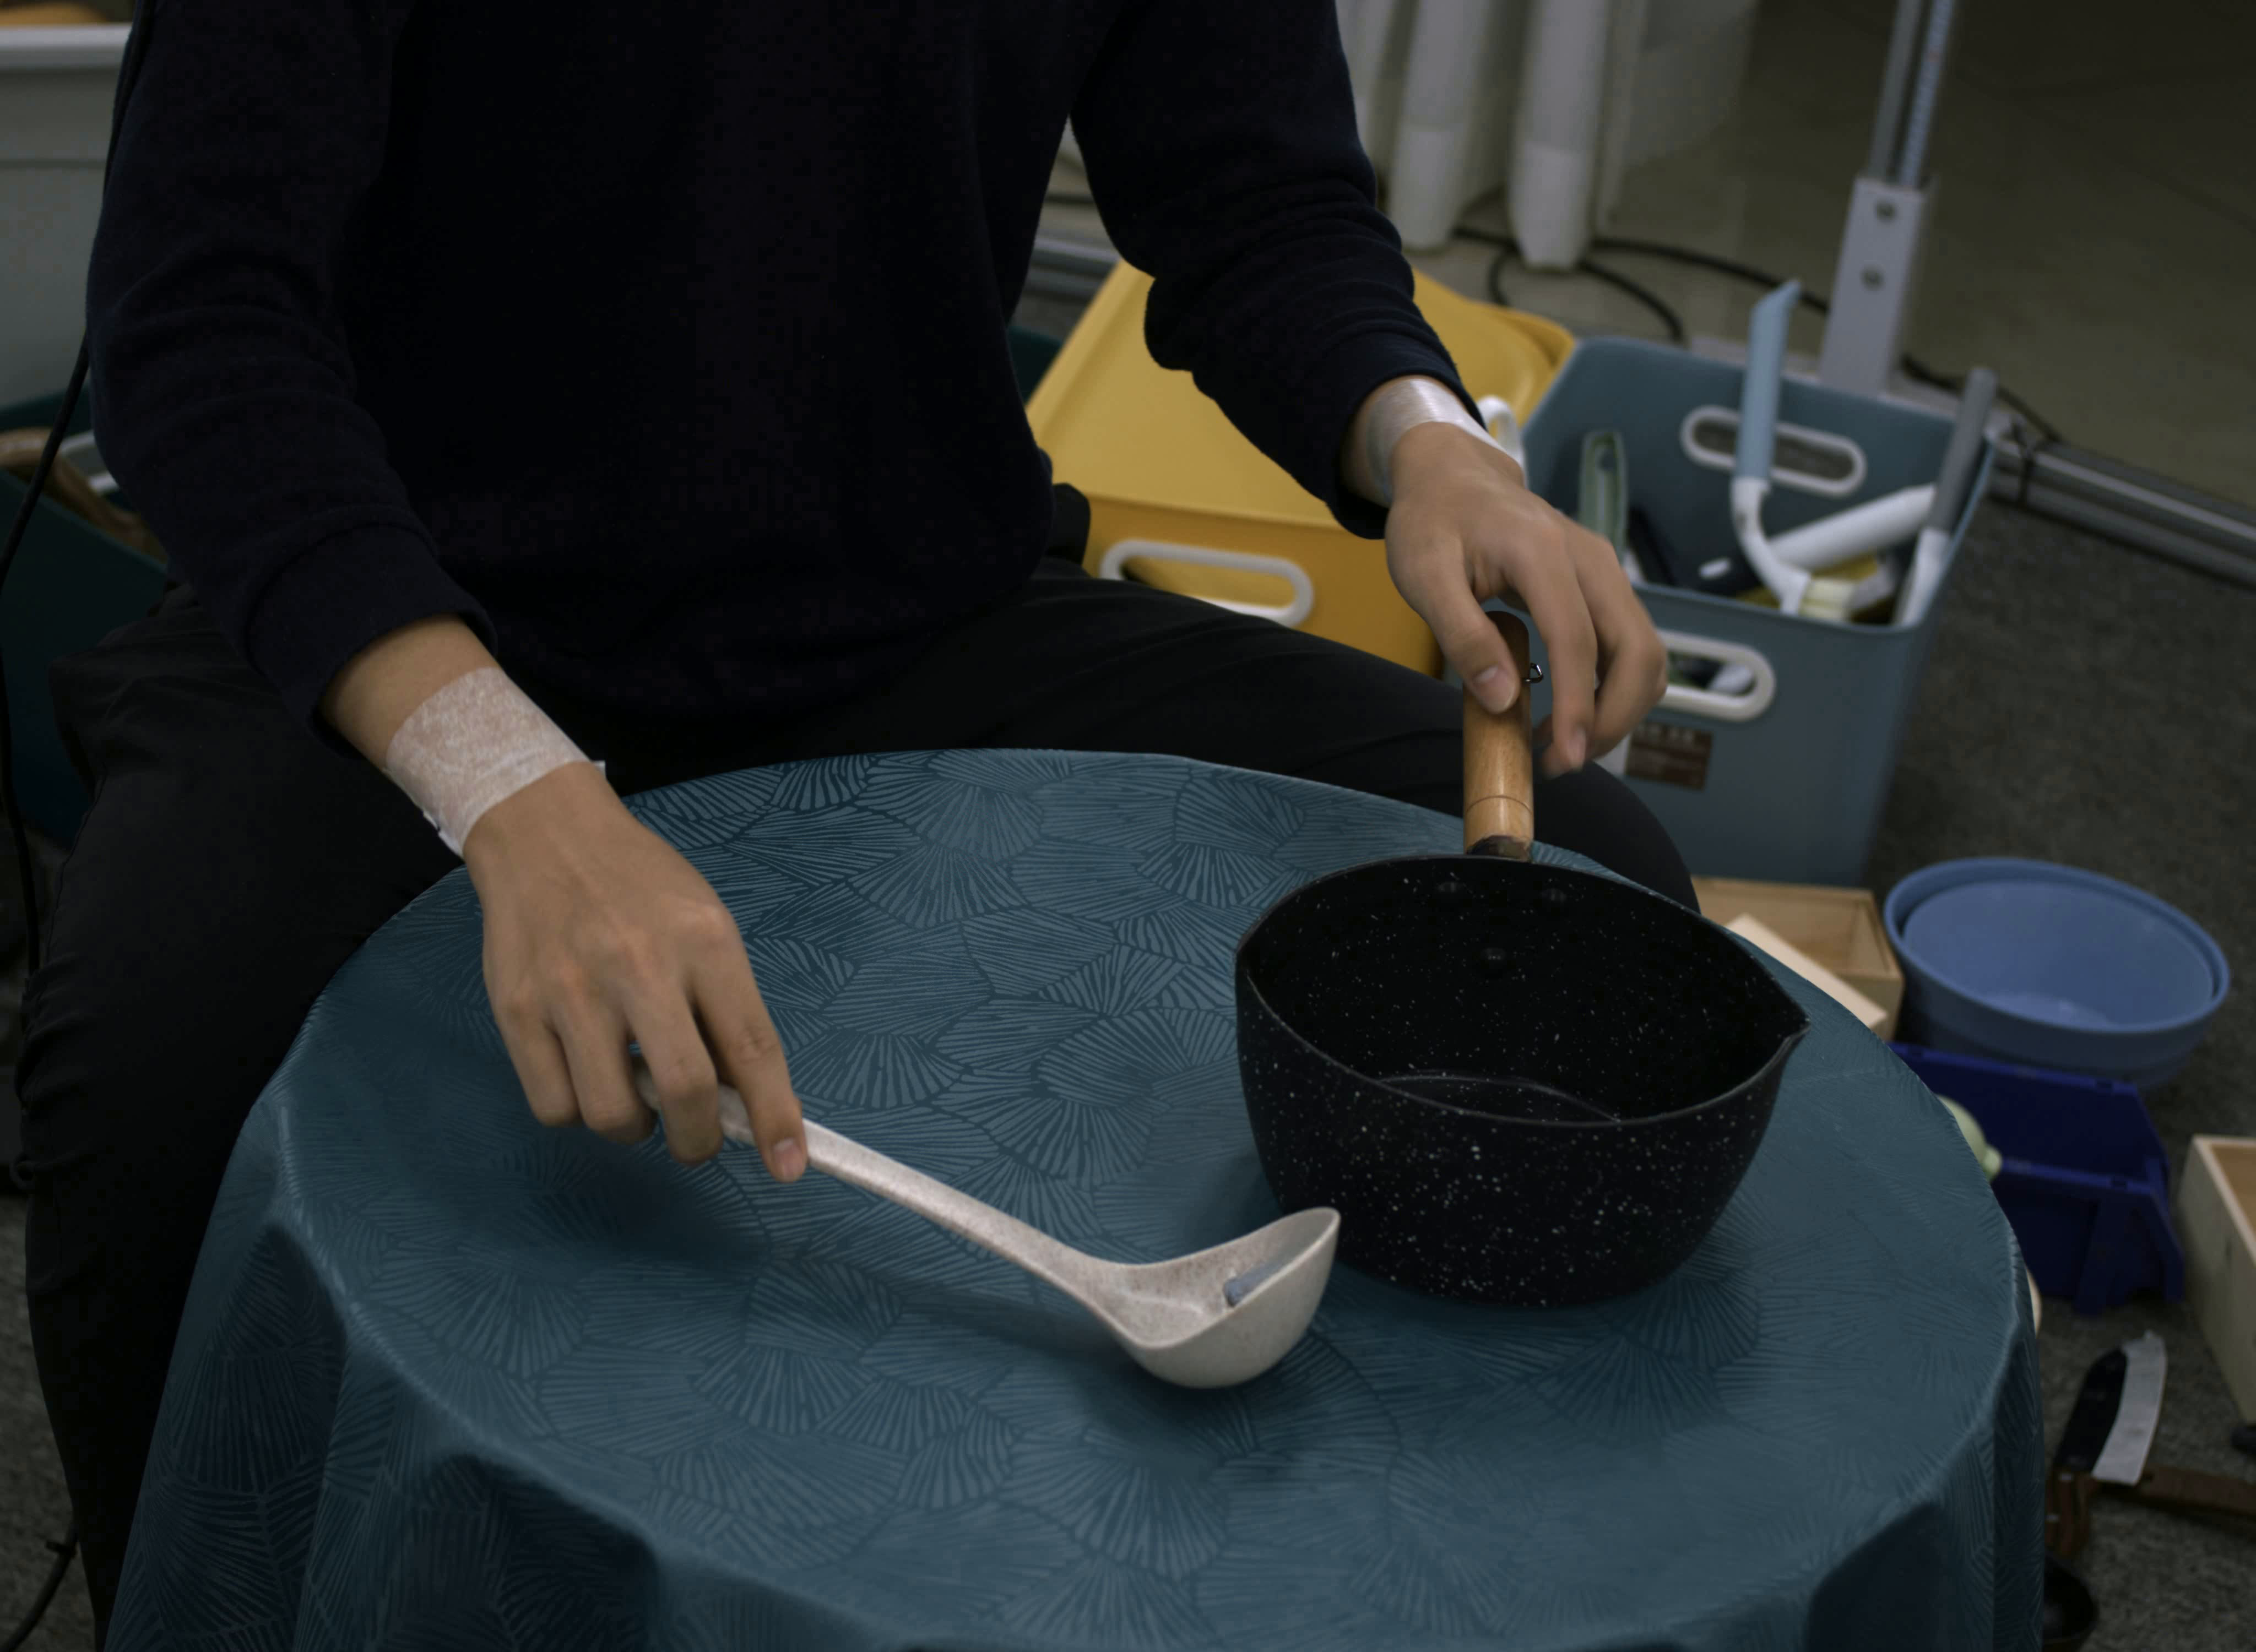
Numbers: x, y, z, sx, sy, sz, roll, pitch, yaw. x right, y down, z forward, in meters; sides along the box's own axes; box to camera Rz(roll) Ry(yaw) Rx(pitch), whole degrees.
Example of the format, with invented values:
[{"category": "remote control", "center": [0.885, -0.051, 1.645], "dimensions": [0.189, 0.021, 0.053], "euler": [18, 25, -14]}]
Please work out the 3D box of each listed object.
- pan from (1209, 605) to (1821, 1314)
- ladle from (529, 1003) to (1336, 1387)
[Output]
[{"category": "pan", "center": [0.128, 0.043, 1.871], "dimensions": [0.207, 0.108, 0.345], "euler": [5, 28, -2]}, {"category": "ladle", "center": [-0.065, 0.097, 1.708], "dimensions": [0.275, 0.069, 0.089], "euler": [27, 31, 10]}]
